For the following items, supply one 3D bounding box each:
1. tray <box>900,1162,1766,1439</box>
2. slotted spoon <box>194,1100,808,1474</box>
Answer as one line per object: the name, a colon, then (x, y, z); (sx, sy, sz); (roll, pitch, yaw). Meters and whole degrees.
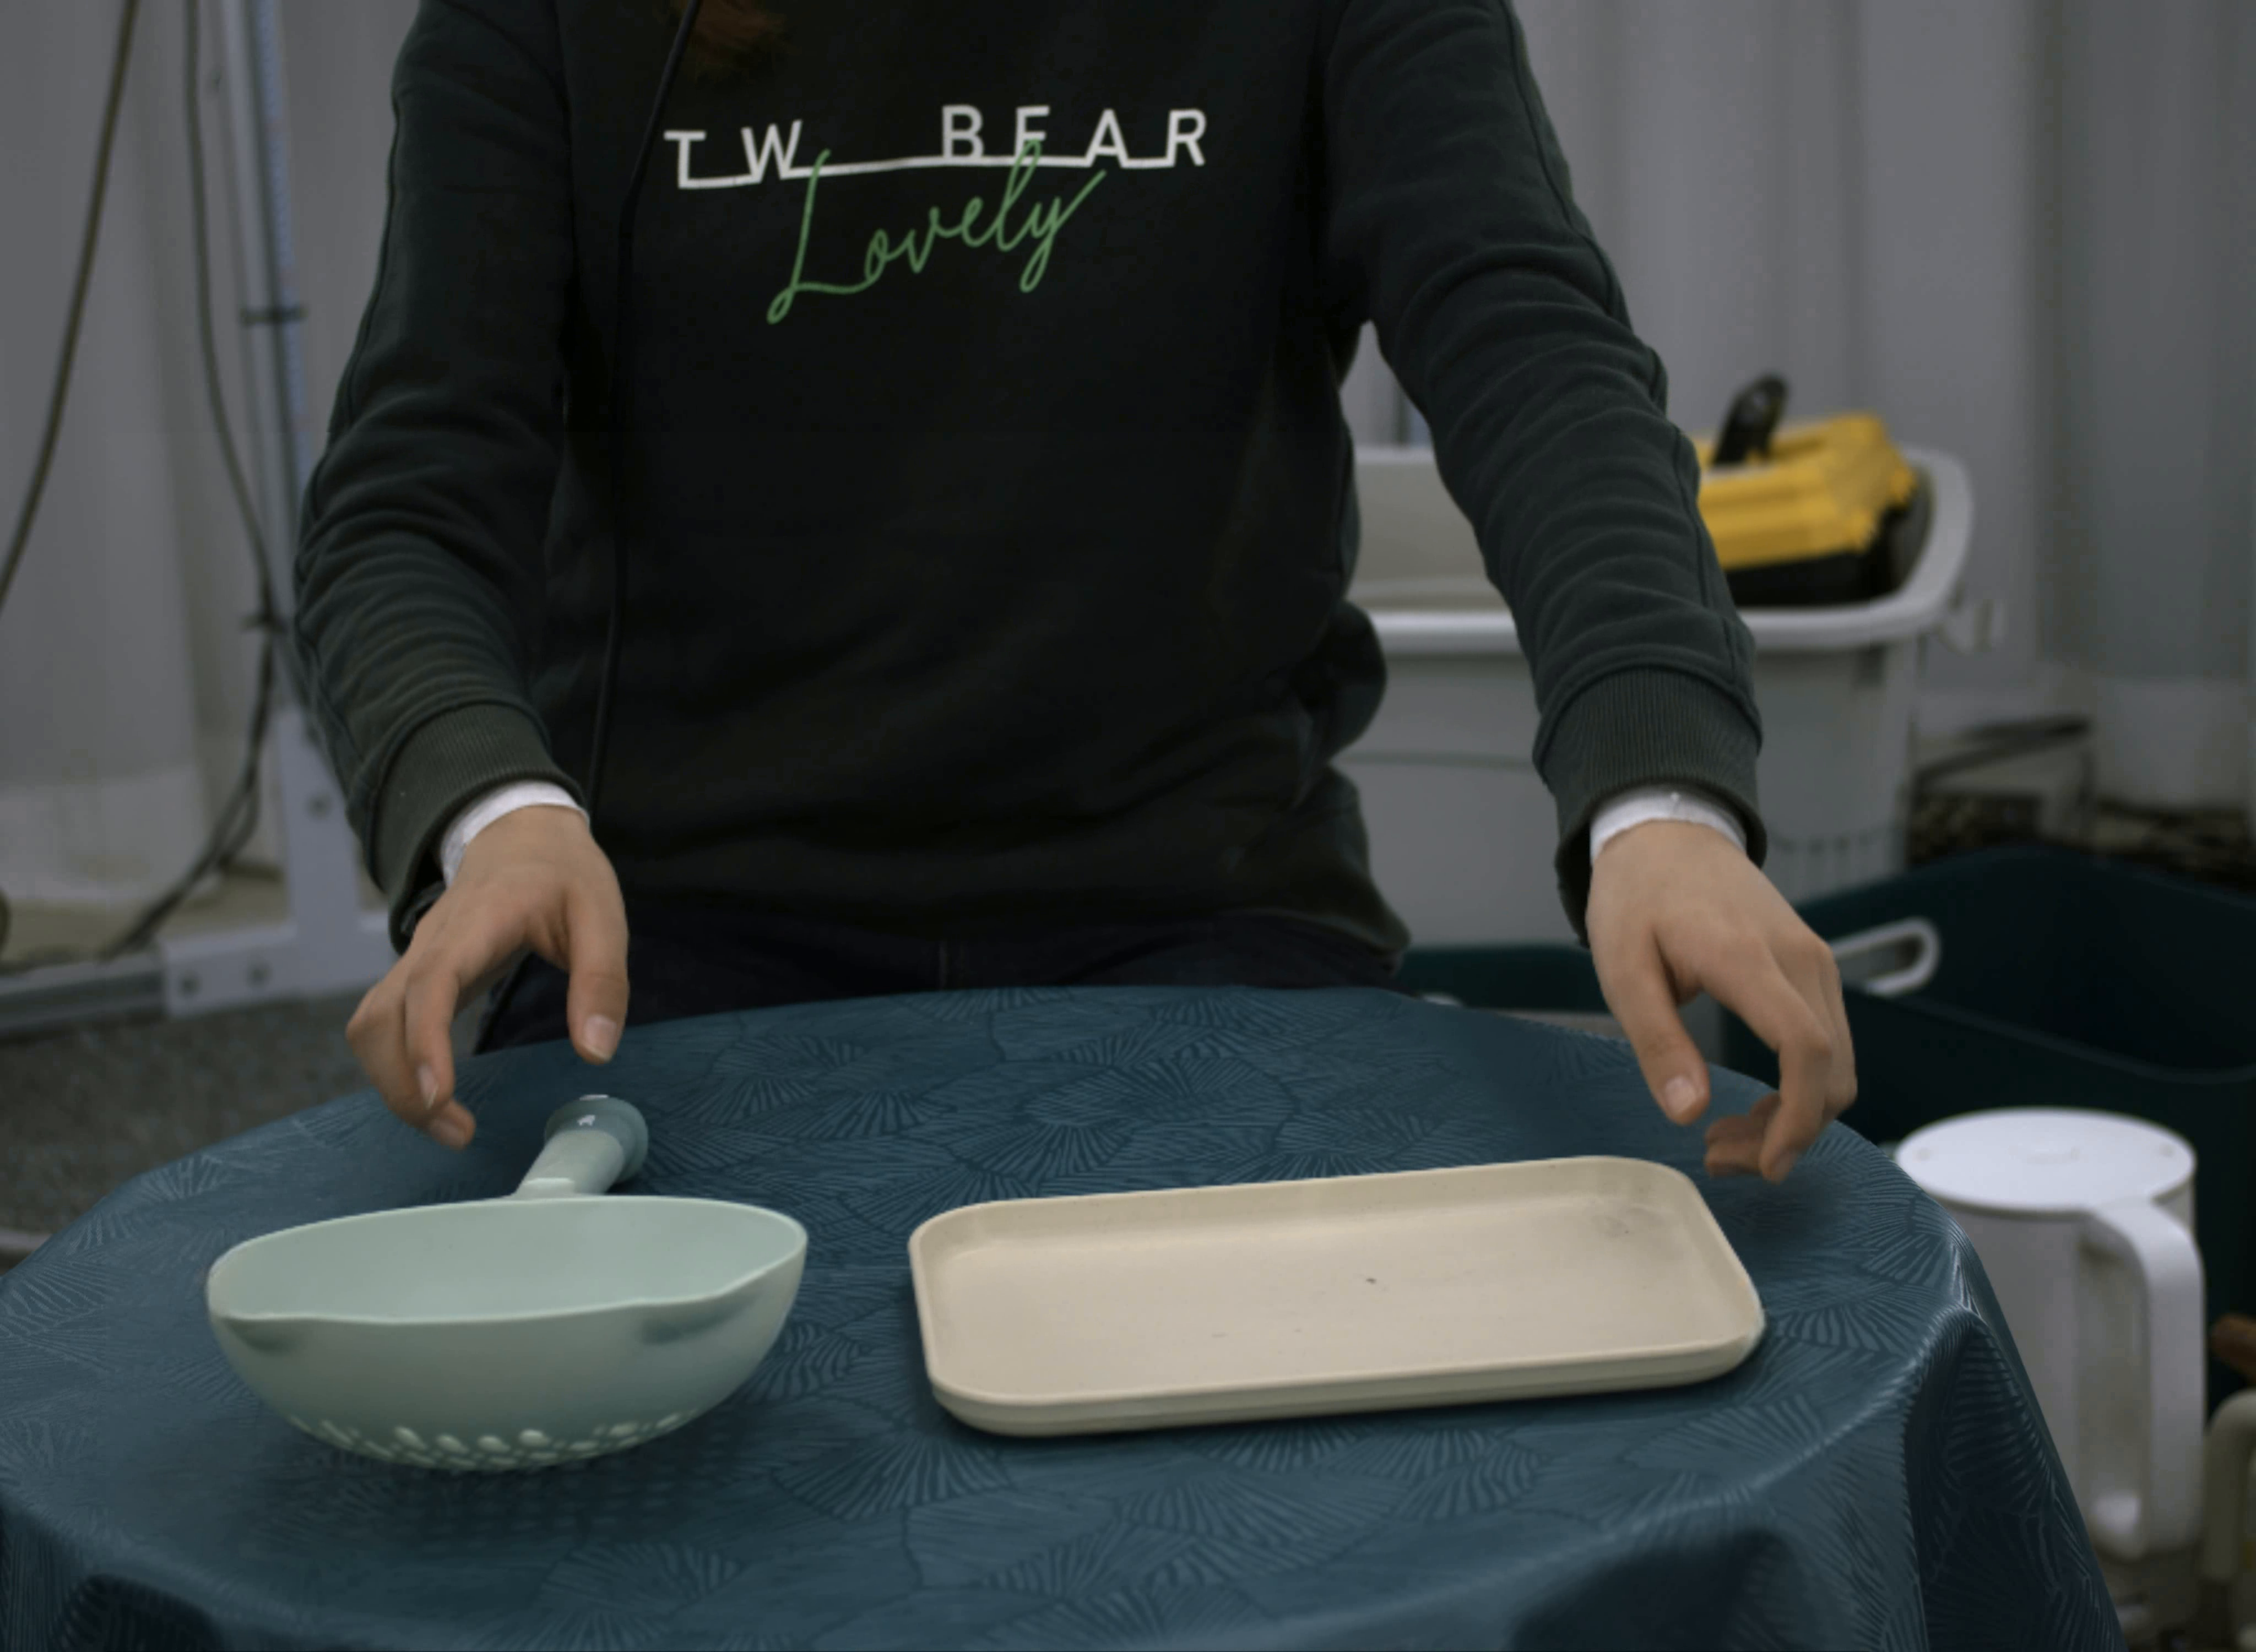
tray: (0.056, 0.138, 1.586); (0.239, 0.017, 0.172); (-3, 15, -5)
slotted spoon: (-0.170, 0.119, 1.607); (0.169, 0.075, 0.361); (-2, 15, 1)
